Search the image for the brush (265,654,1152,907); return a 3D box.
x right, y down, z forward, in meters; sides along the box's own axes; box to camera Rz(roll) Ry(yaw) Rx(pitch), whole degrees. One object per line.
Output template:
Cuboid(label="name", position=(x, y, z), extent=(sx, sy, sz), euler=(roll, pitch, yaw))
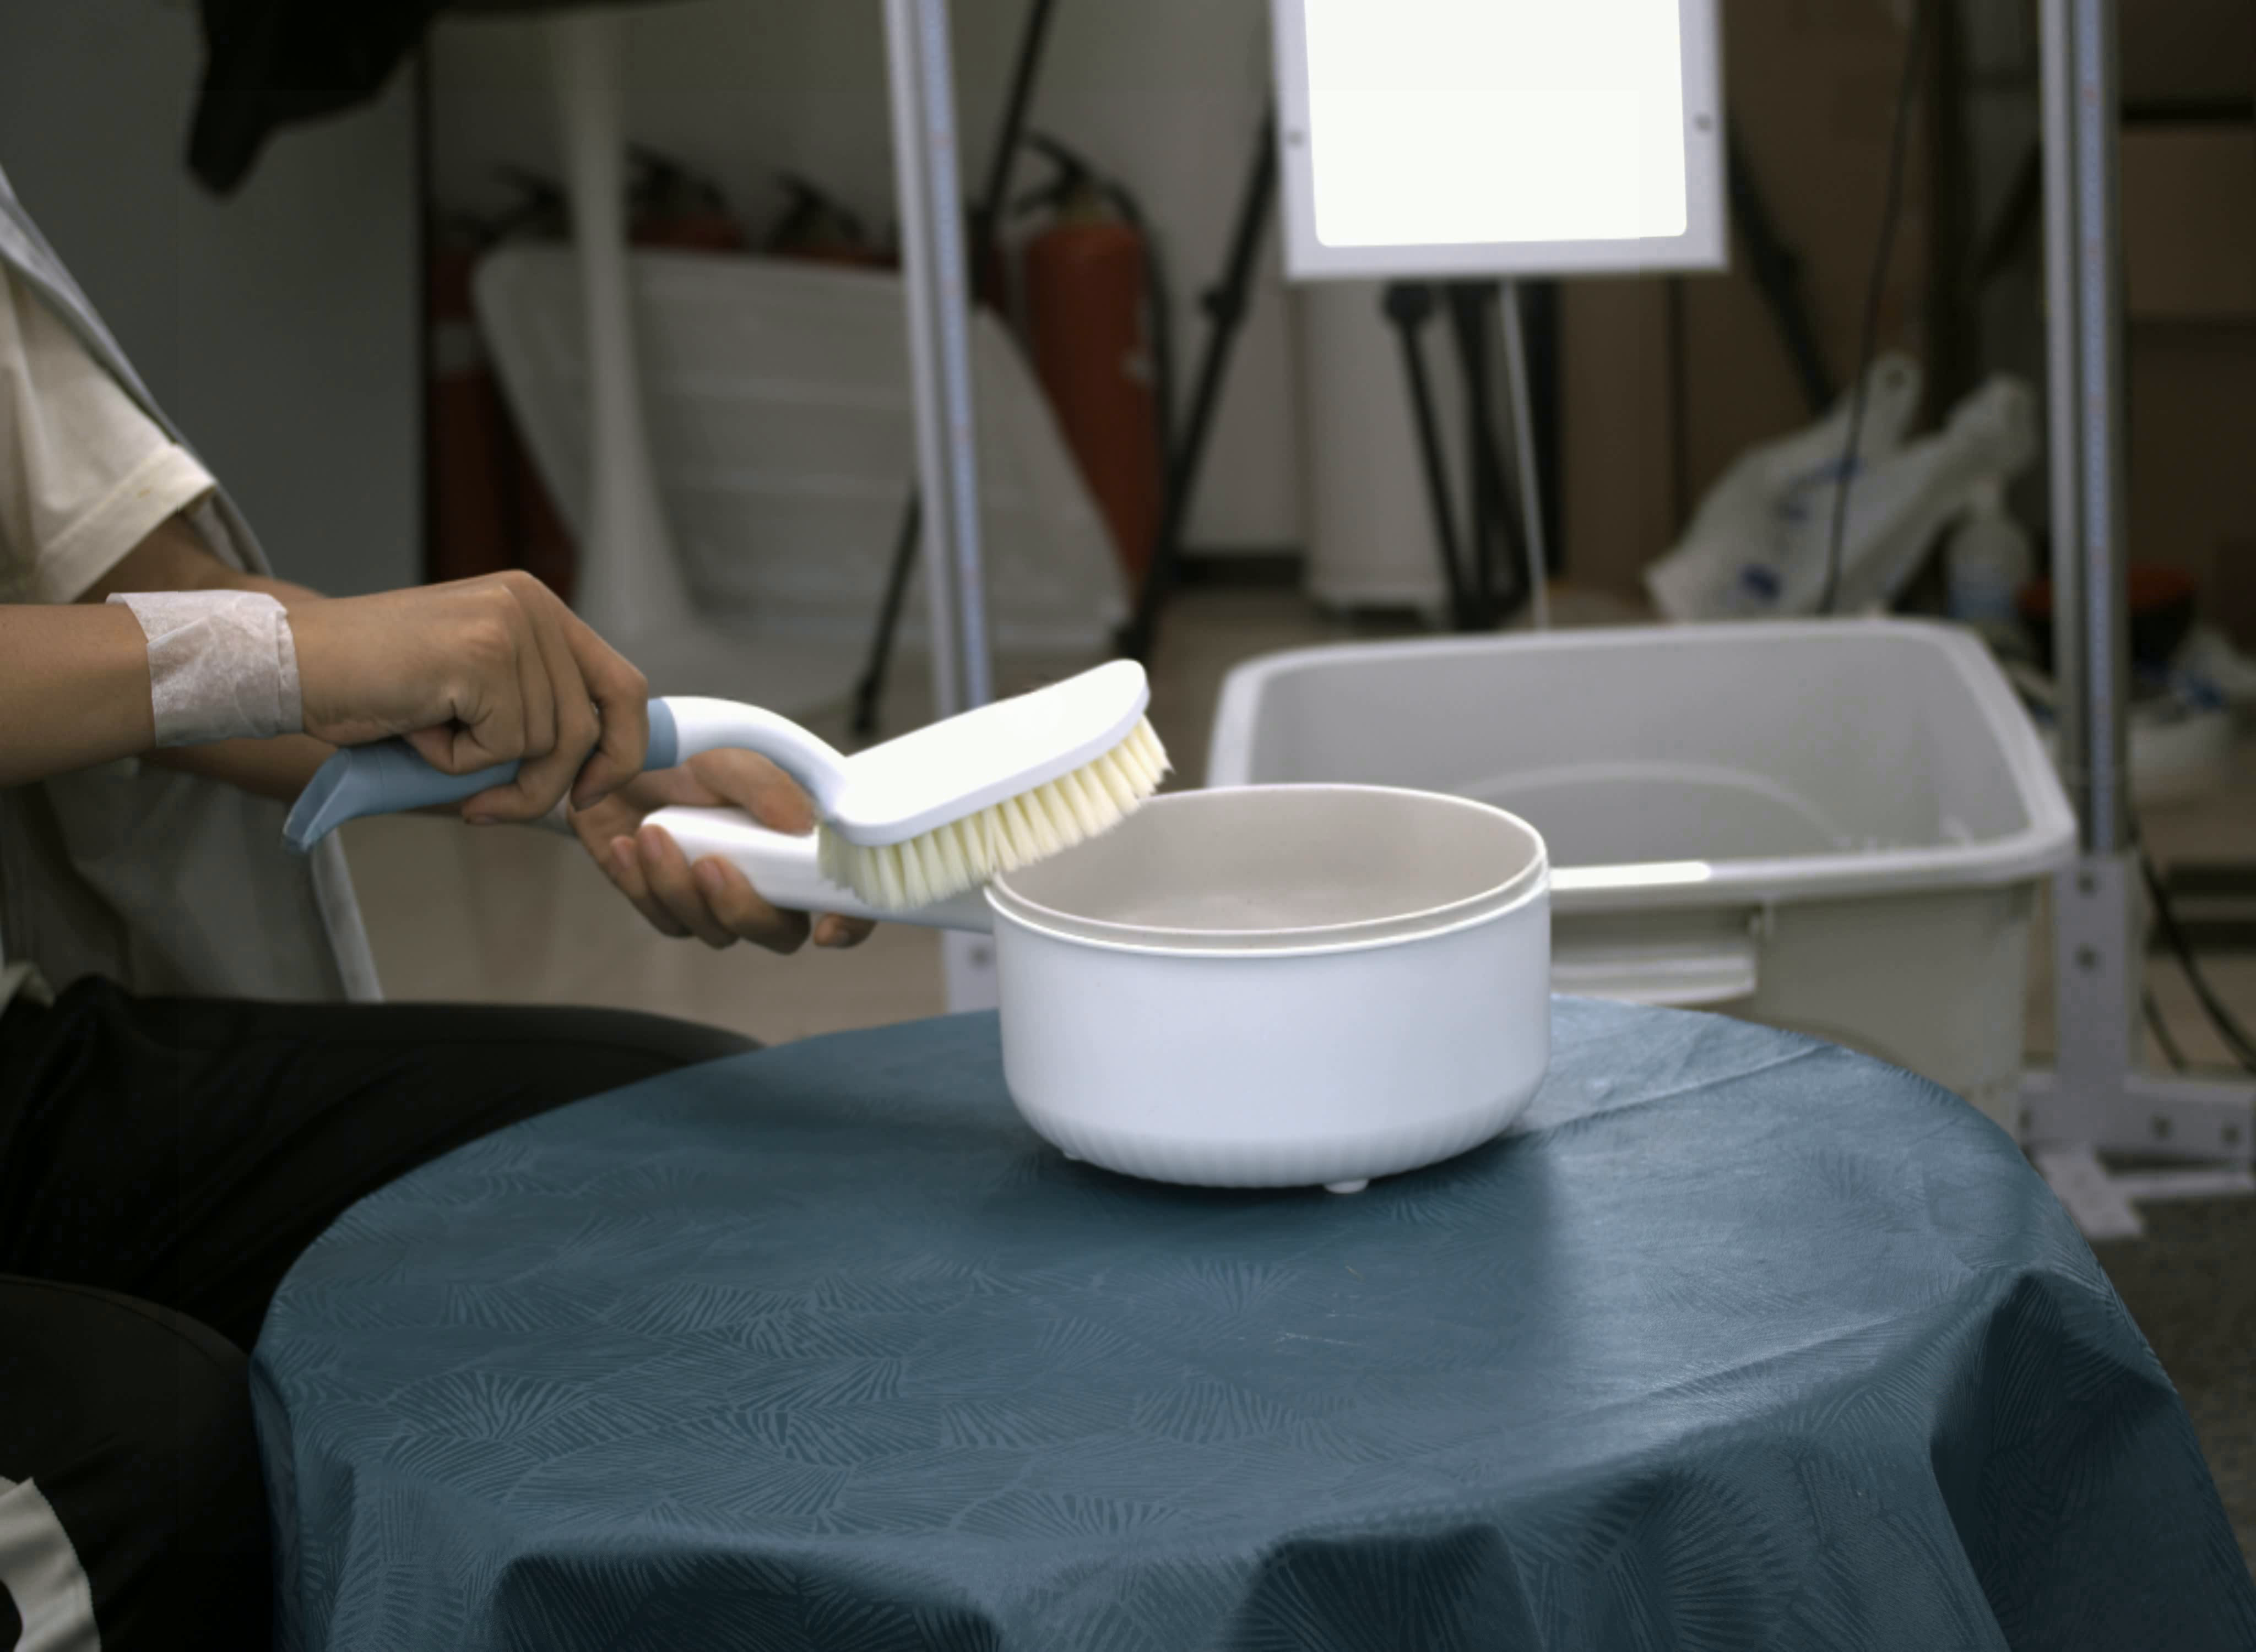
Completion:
Cuboid(label="brush", position=(-0.142, 0.001, 1.910), extent=(0.319, 0.085, 0.084), euler=(-10, -18, -22))

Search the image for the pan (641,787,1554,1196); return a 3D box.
Cuboid(label="pan", position=(-0.016, 0.054, 1.973), extent=(0.361, 0.102, 0.197), euler=(5, 17, 30))
